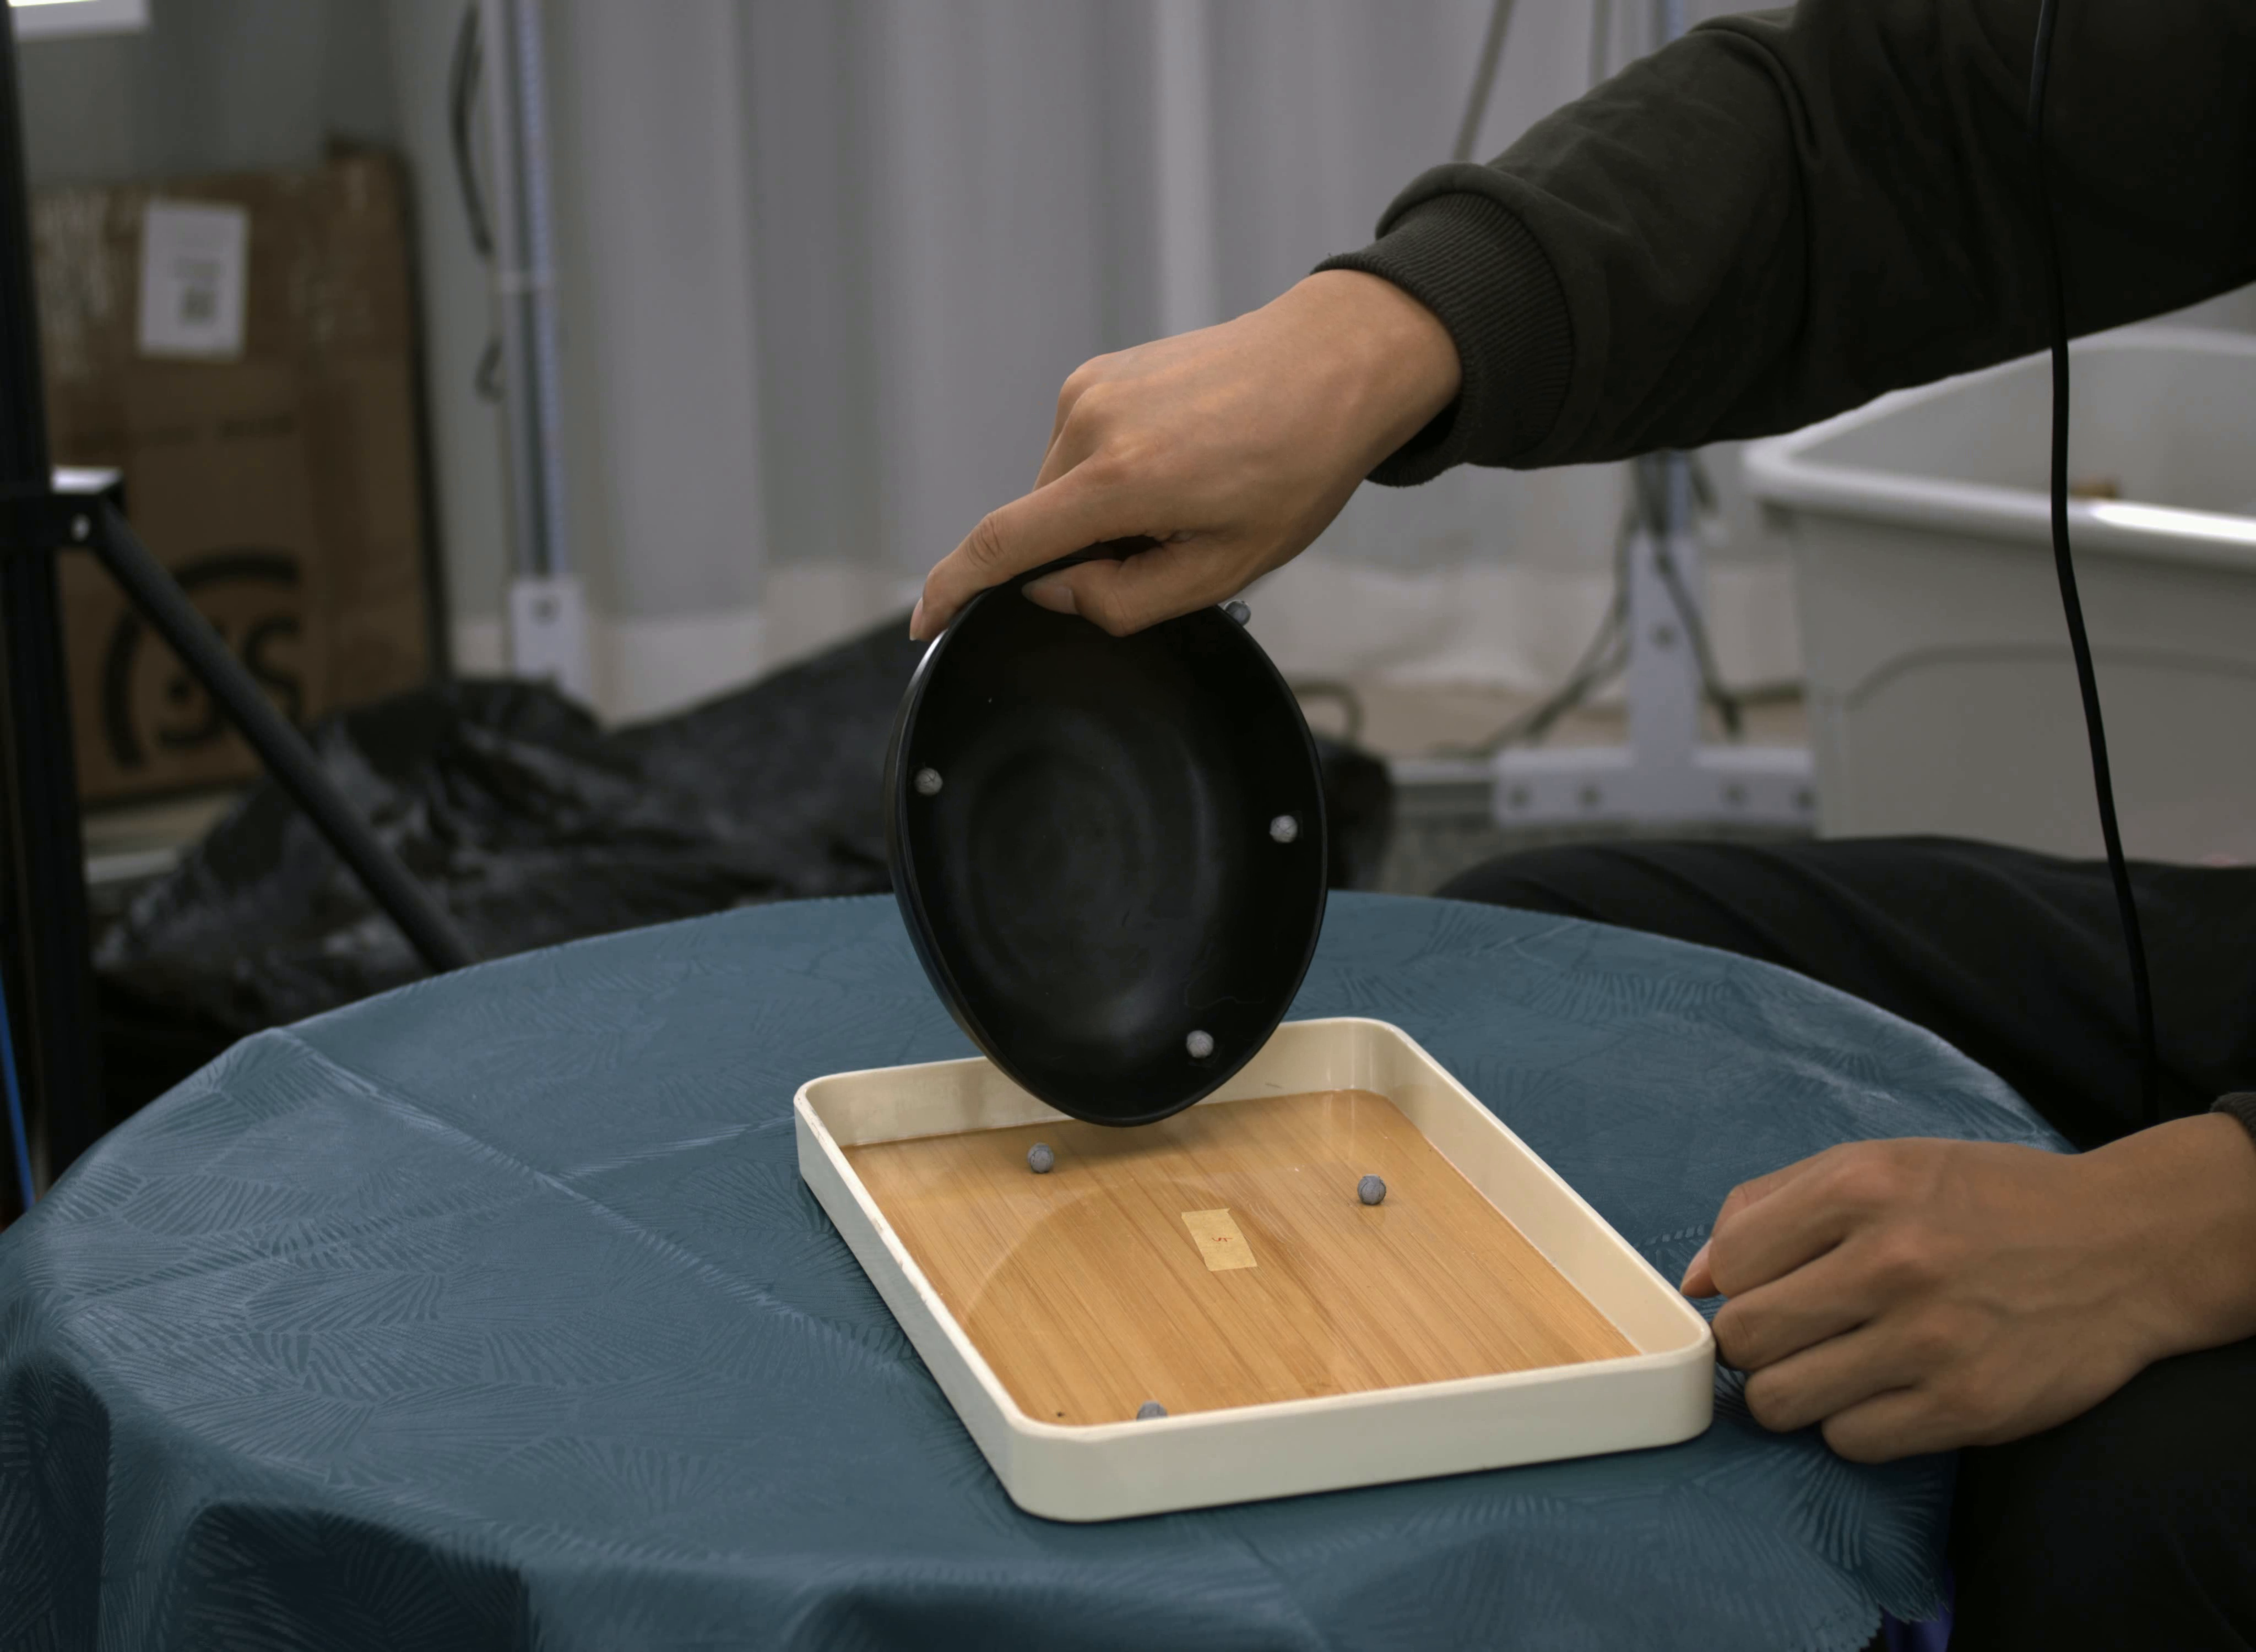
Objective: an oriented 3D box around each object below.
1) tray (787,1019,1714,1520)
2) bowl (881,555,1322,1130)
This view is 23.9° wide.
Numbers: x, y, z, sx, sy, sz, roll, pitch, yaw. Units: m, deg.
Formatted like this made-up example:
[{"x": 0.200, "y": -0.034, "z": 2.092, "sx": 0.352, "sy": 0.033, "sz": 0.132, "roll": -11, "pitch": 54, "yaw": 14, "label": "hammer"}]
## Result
[{"x": 0.025, "y": 0.117, "z": 1.476, "sx": 0.189, "sy": 0.027, "sz": 0.304, "roll": -6, "pitch": 16, "yaw": -13, "label": "tray"}, {"x": -0.015, "y": 0.004, "z": 1.590, "sx": 0.135, "sy": 0.171, "sz": 0.067, "roll": -13, "pitch": 5, "yaw": -20, "label": "bowl"}]
